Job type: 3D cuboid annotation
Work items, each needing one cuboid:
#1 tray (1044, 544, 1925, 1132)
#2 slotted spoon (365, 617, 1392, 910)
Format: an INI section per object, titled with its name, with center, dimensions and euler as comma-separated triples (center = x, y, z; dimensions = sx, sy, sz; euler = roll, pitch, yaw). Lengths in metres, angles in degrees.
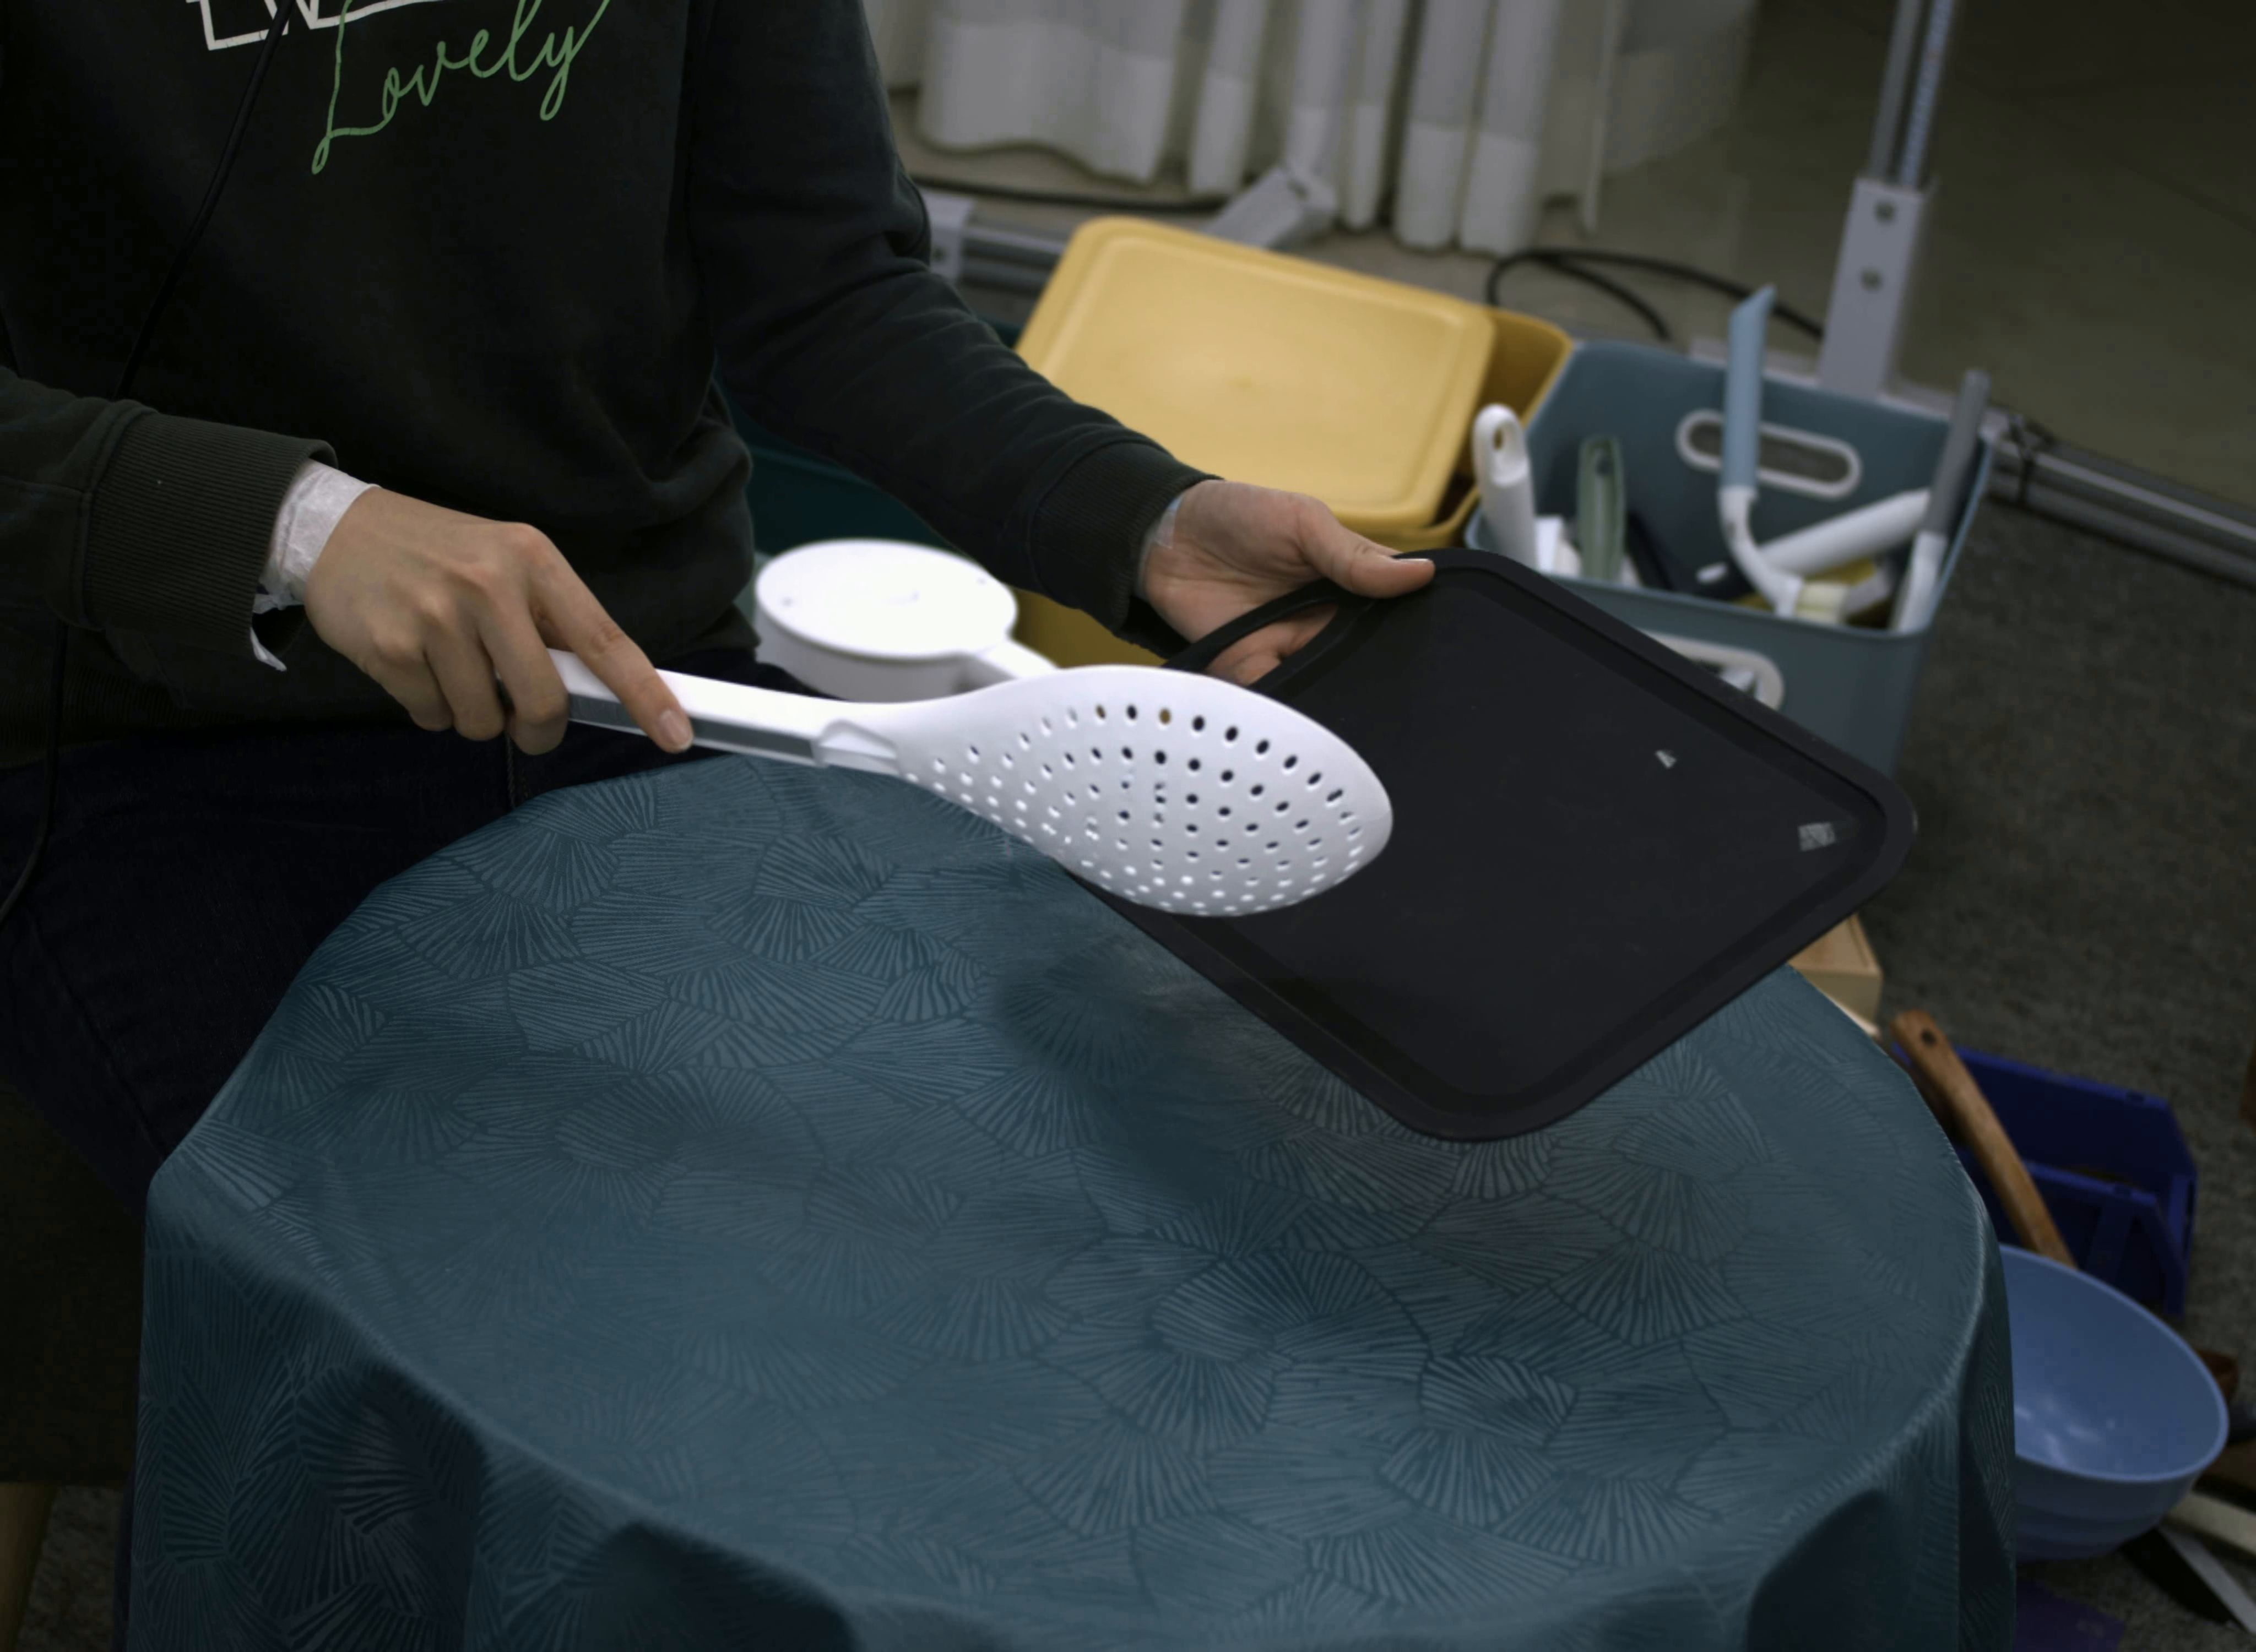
[tray]
center = 0.110, -0.006, 1.835
dimensions = 0.211, 0.010, 0.328
euler = -34, 37, -16
[slotted spoon]
center = -0.086, -0.030, 1.750
dimensions = 0.350, 0.135, 0.046
euler = 14, 61, 15
